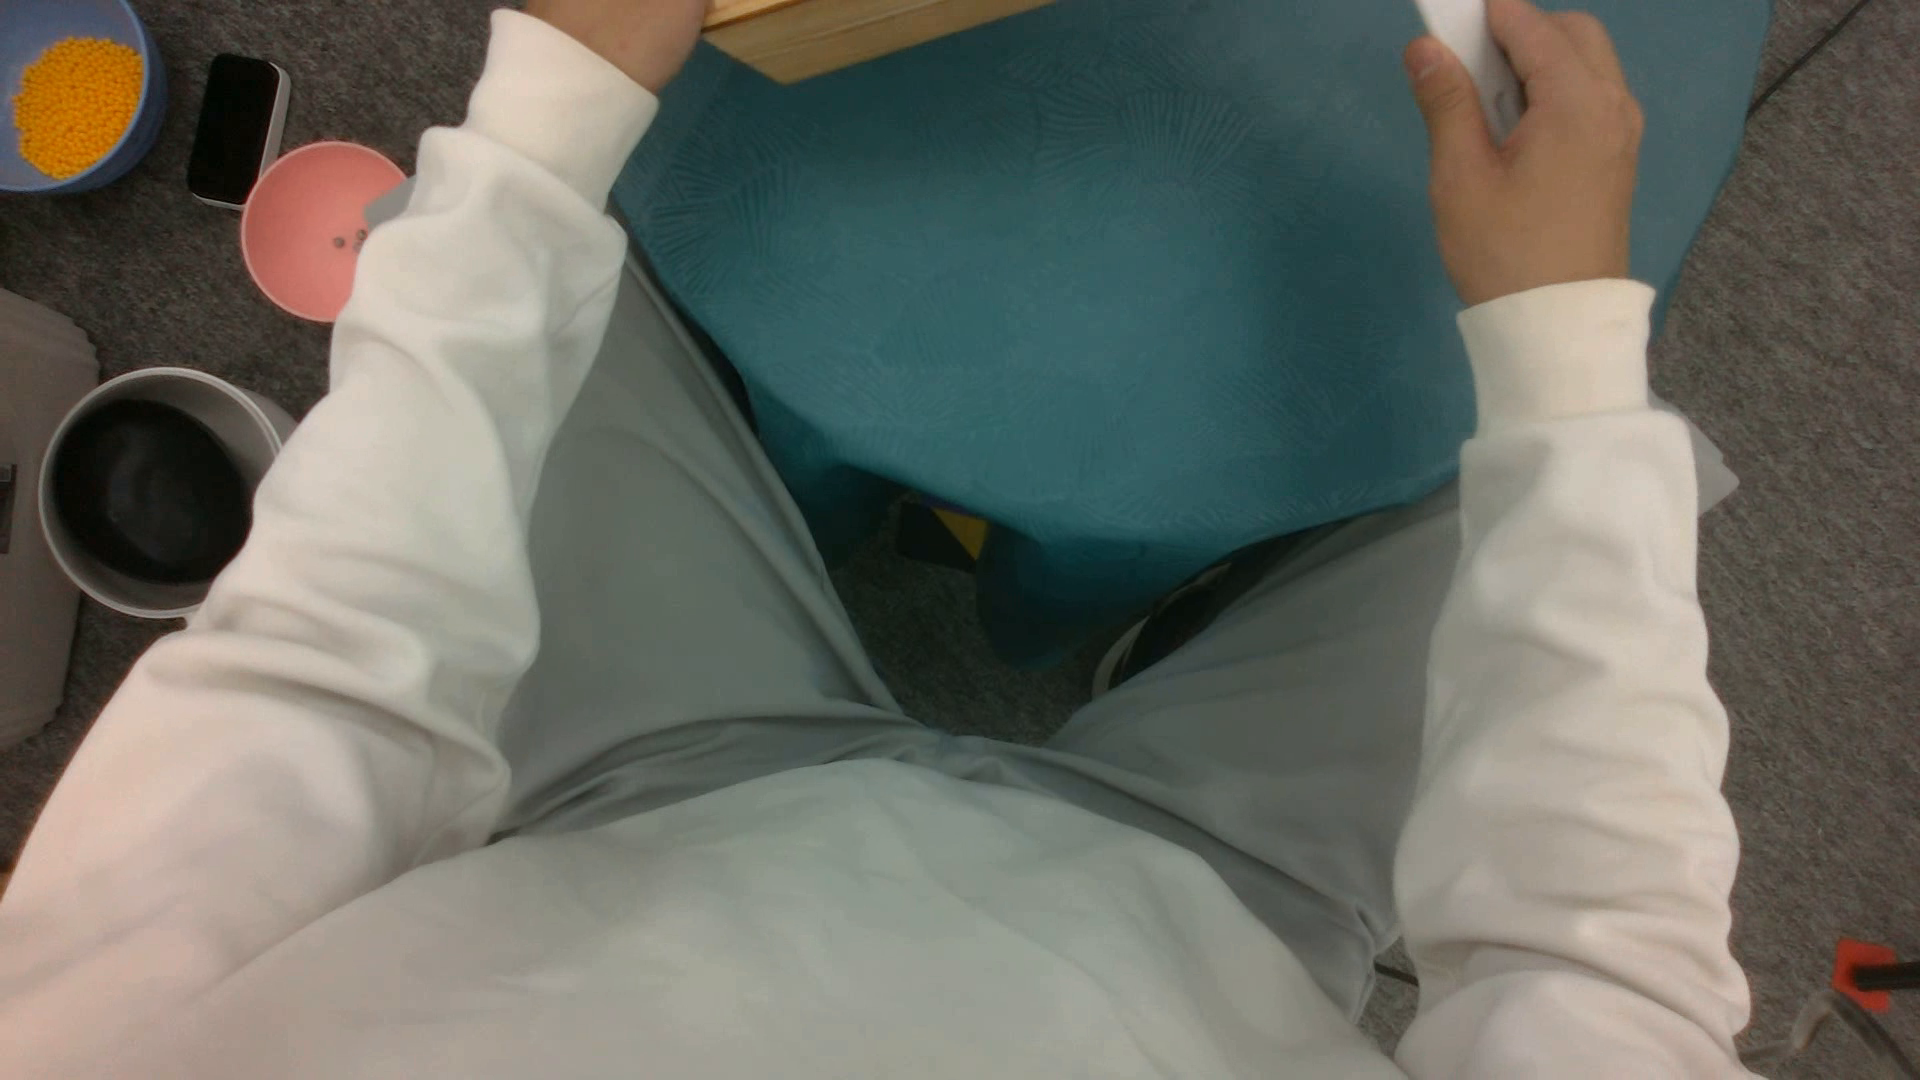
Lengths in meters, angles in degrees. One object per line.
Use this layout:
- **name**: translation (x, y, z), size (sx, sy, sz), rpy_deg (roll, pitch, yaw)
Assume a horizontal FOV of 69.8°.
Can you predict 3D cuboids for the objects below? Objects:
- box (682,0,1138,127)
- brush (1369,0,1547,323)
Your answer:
- **box**: translation (-0.012, -0.258, 0.562), size (0.211, 0.080, 0.107), rpy_deg (-13, 90, 20)
- **brush**: translation (0.188, -0.209, 0.580), size (0.068, 0.056, 0.266), rpy_deg (-33, 118, -6)
